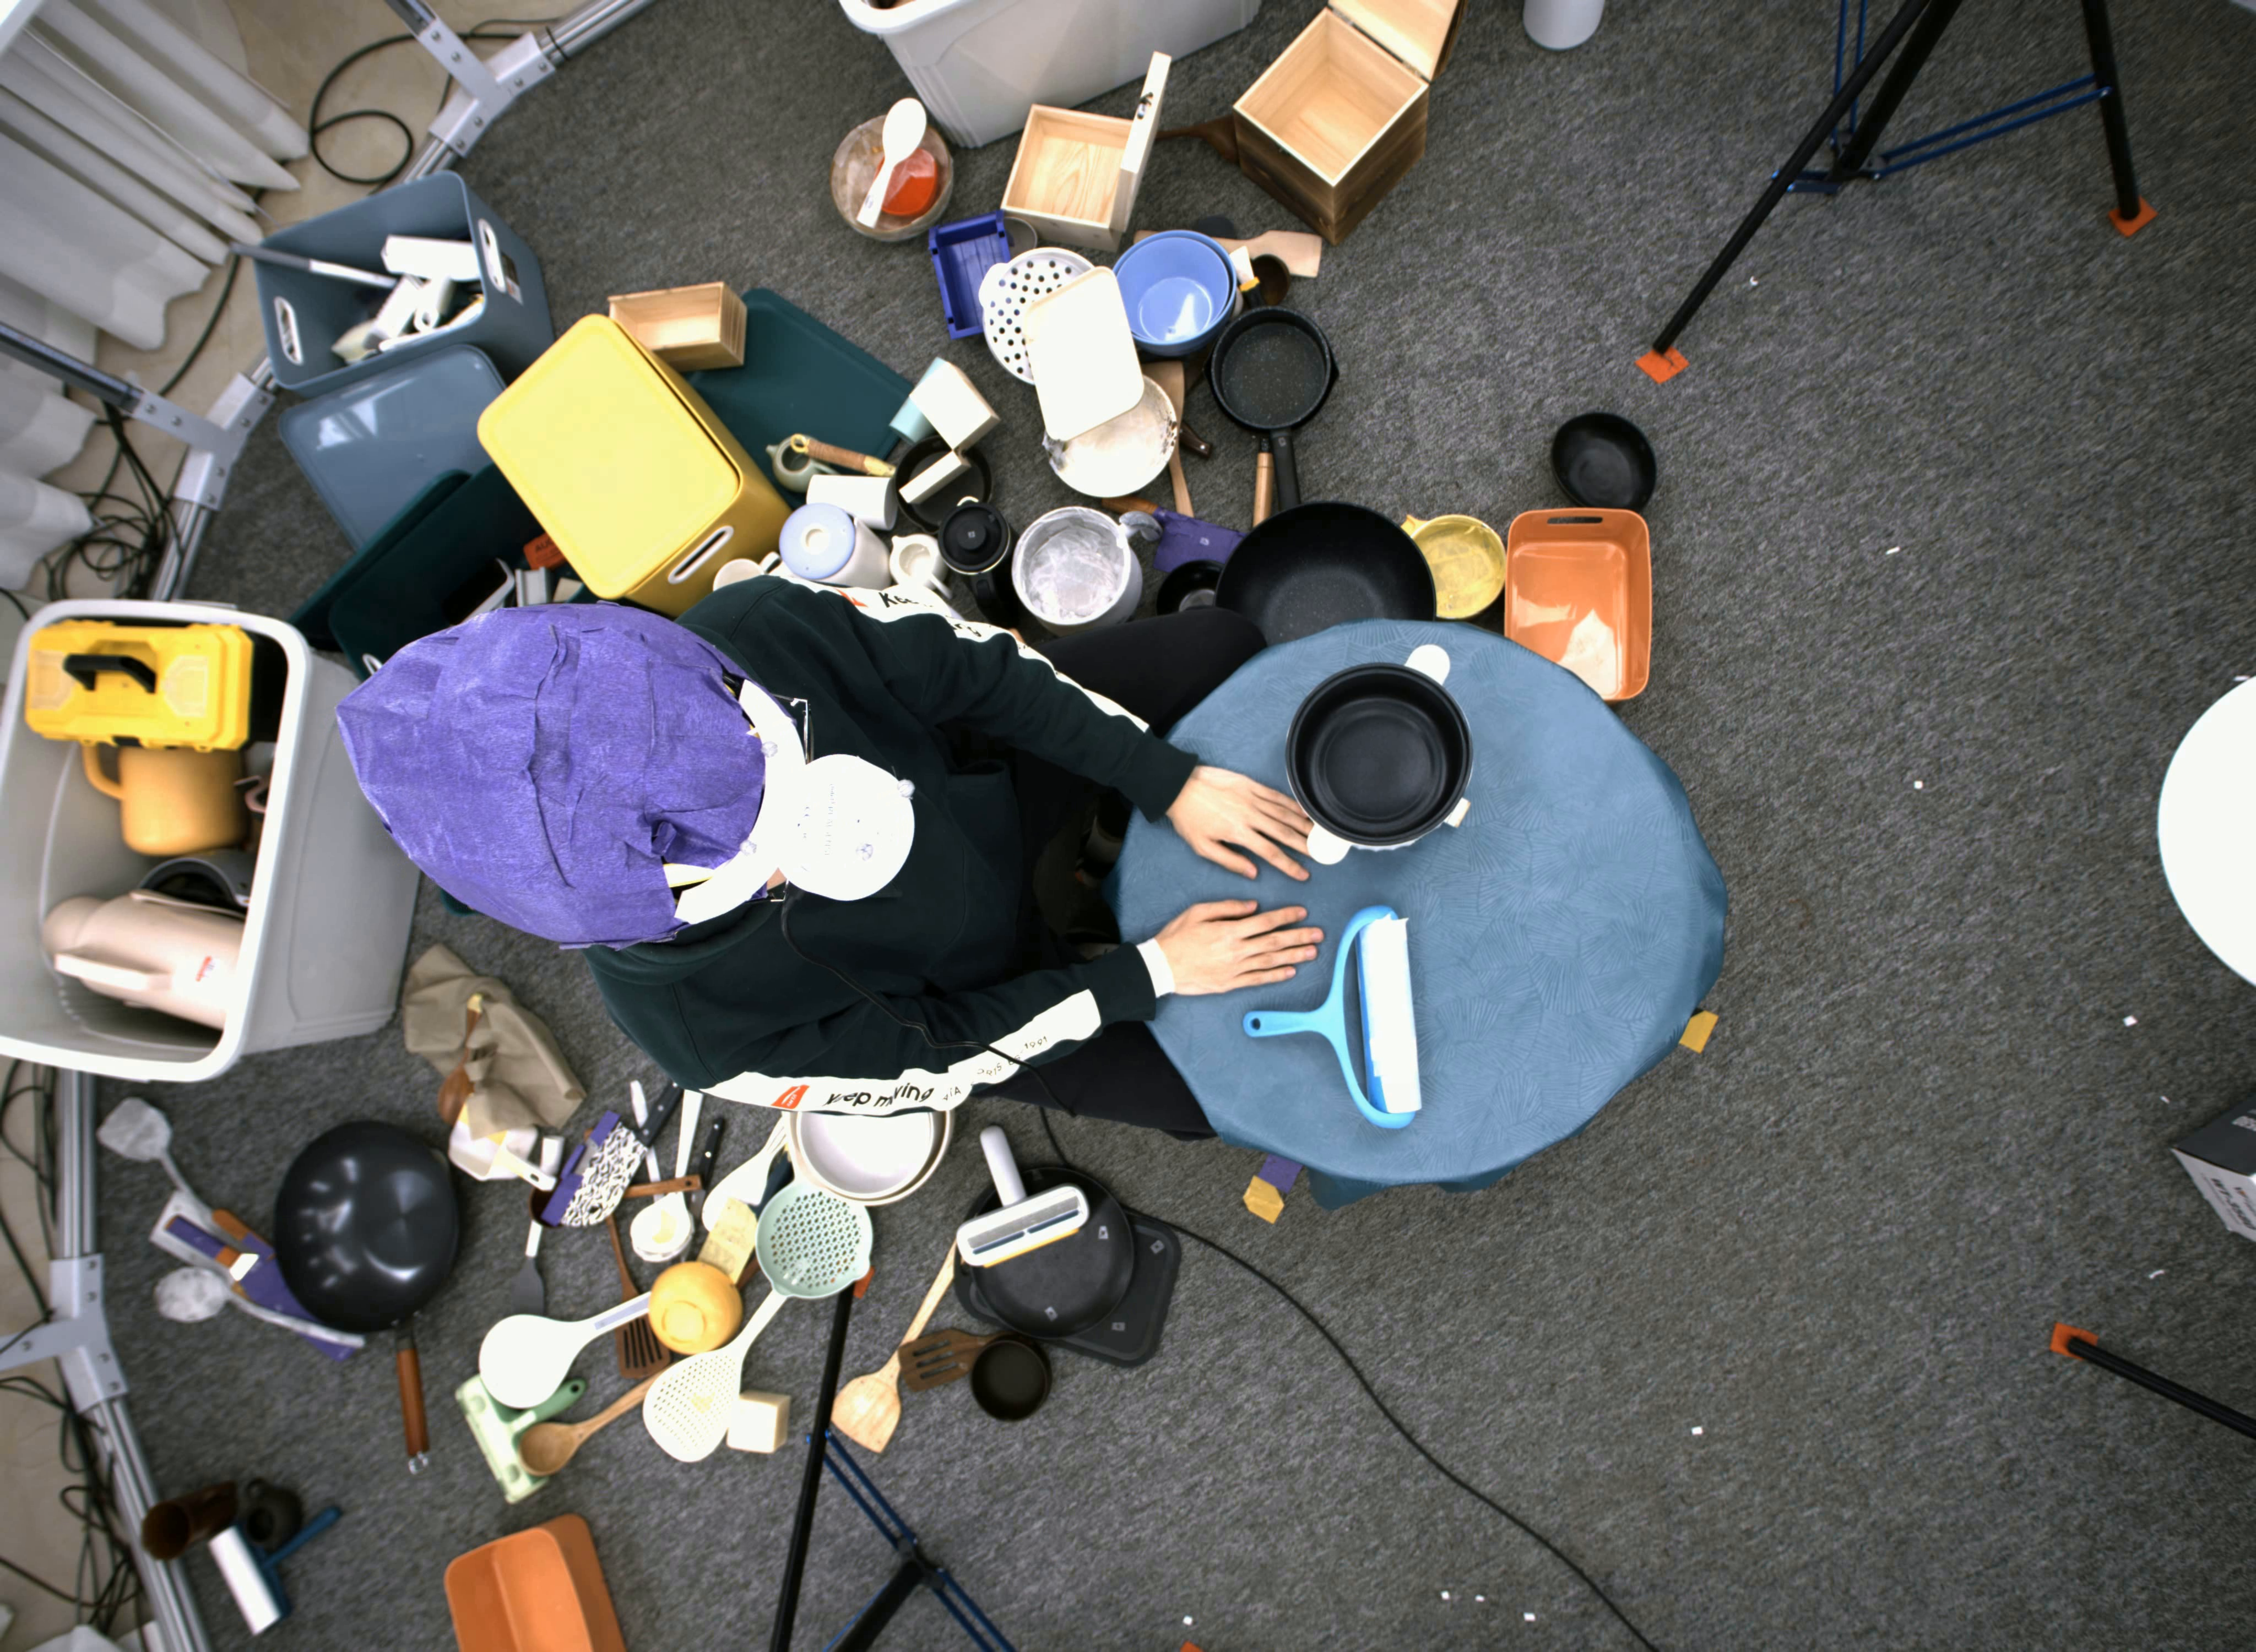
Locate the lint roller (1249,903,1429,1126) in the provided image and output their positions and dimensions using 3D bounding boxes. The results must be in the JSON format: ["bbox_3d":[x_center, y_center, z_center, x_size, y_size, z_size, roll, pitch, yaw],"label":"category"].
[{"bbox_3d":[0.213,0.201,1.432,0.181,0.068,0.228,-9,87,9],"label":"lint roller"}]

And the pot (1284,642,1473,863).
[{"bbox_3d":[0.259,-0.065,1.394,0.190,0.142,0.241,29,93,14],"label":"pot"}]
